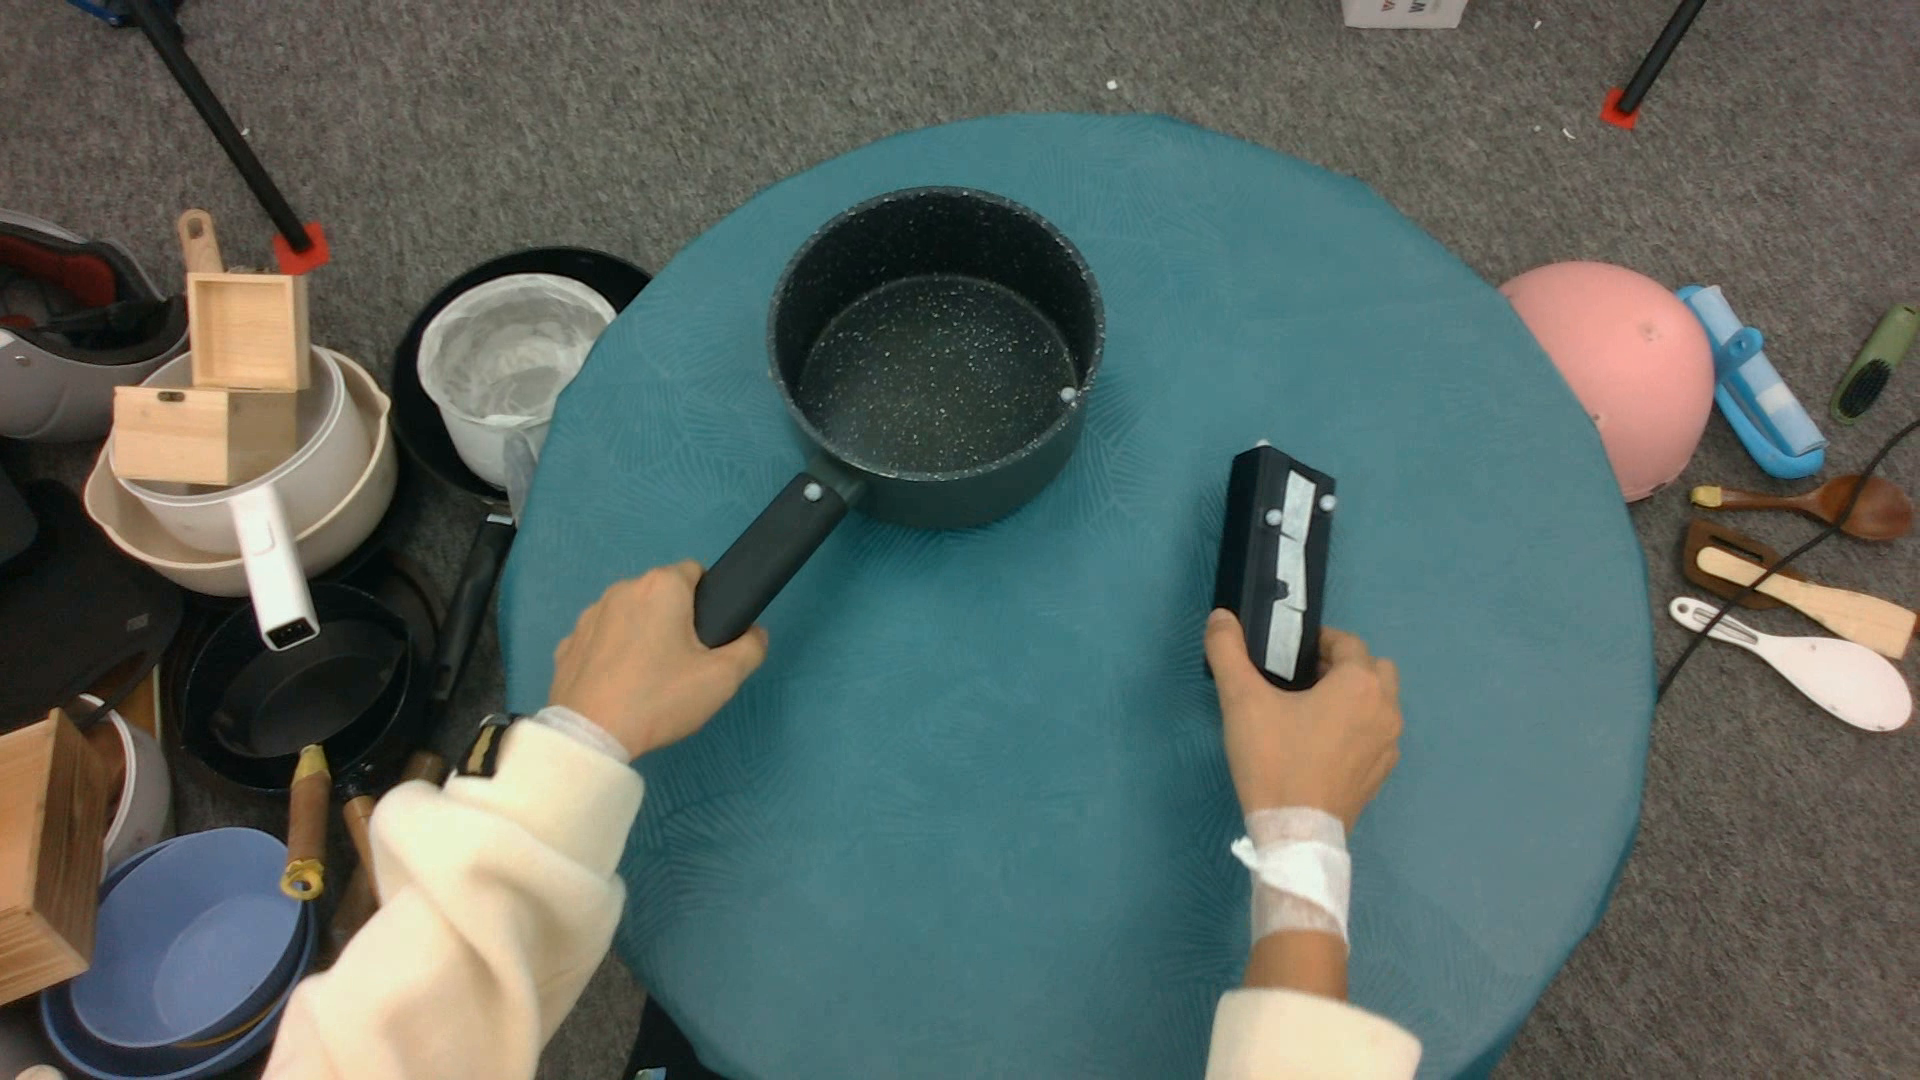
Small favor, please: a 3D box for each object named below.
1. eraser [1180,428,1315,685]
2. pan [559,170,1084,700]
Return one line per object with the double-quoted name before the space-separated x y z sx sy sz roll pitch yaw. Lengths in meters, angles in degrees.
"eraser" 0.147 0.007 0.698 0.053 0.030 0.126 24 62 -21
"pan" -0.070 -0.043 0.694 0.172 0.086 0.330 34 69 14
